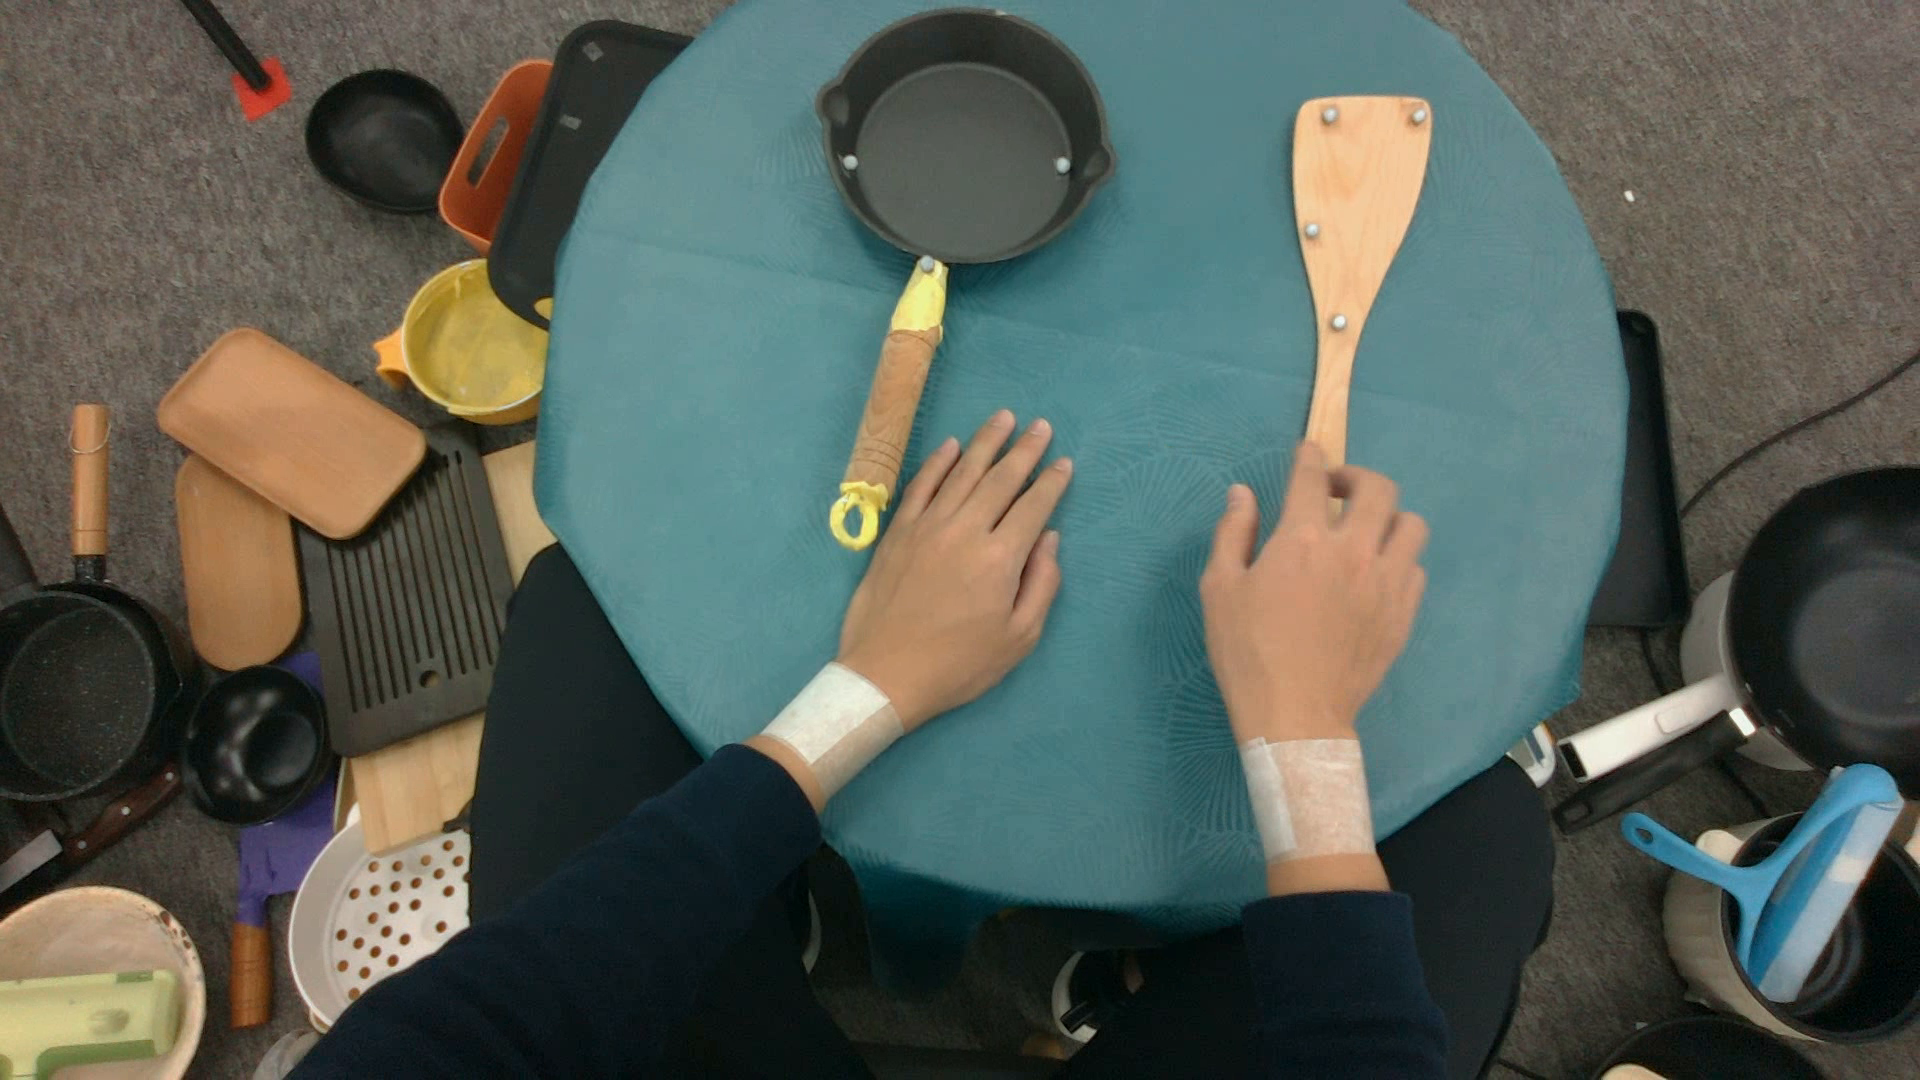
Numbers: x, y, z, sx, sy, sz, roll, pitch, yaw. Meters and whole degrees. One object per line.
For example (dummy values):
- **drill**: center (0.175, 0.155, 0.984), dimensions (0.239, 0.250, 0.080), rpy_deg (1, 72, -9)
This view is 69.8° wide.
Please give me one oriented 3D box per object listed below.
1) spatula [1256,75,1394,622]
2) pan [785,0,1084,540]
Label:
- **spatula**: center (0.193, -0.115, 0.764), dimensions (0.080, 0.016, 0.328), rpy_deg (8, 75, 0)
- **pan**: center (-0.034, -0.150, 0.743), dimensions (0.169, 0.049, 0.325), rpy_deg (14, 73, 1)
